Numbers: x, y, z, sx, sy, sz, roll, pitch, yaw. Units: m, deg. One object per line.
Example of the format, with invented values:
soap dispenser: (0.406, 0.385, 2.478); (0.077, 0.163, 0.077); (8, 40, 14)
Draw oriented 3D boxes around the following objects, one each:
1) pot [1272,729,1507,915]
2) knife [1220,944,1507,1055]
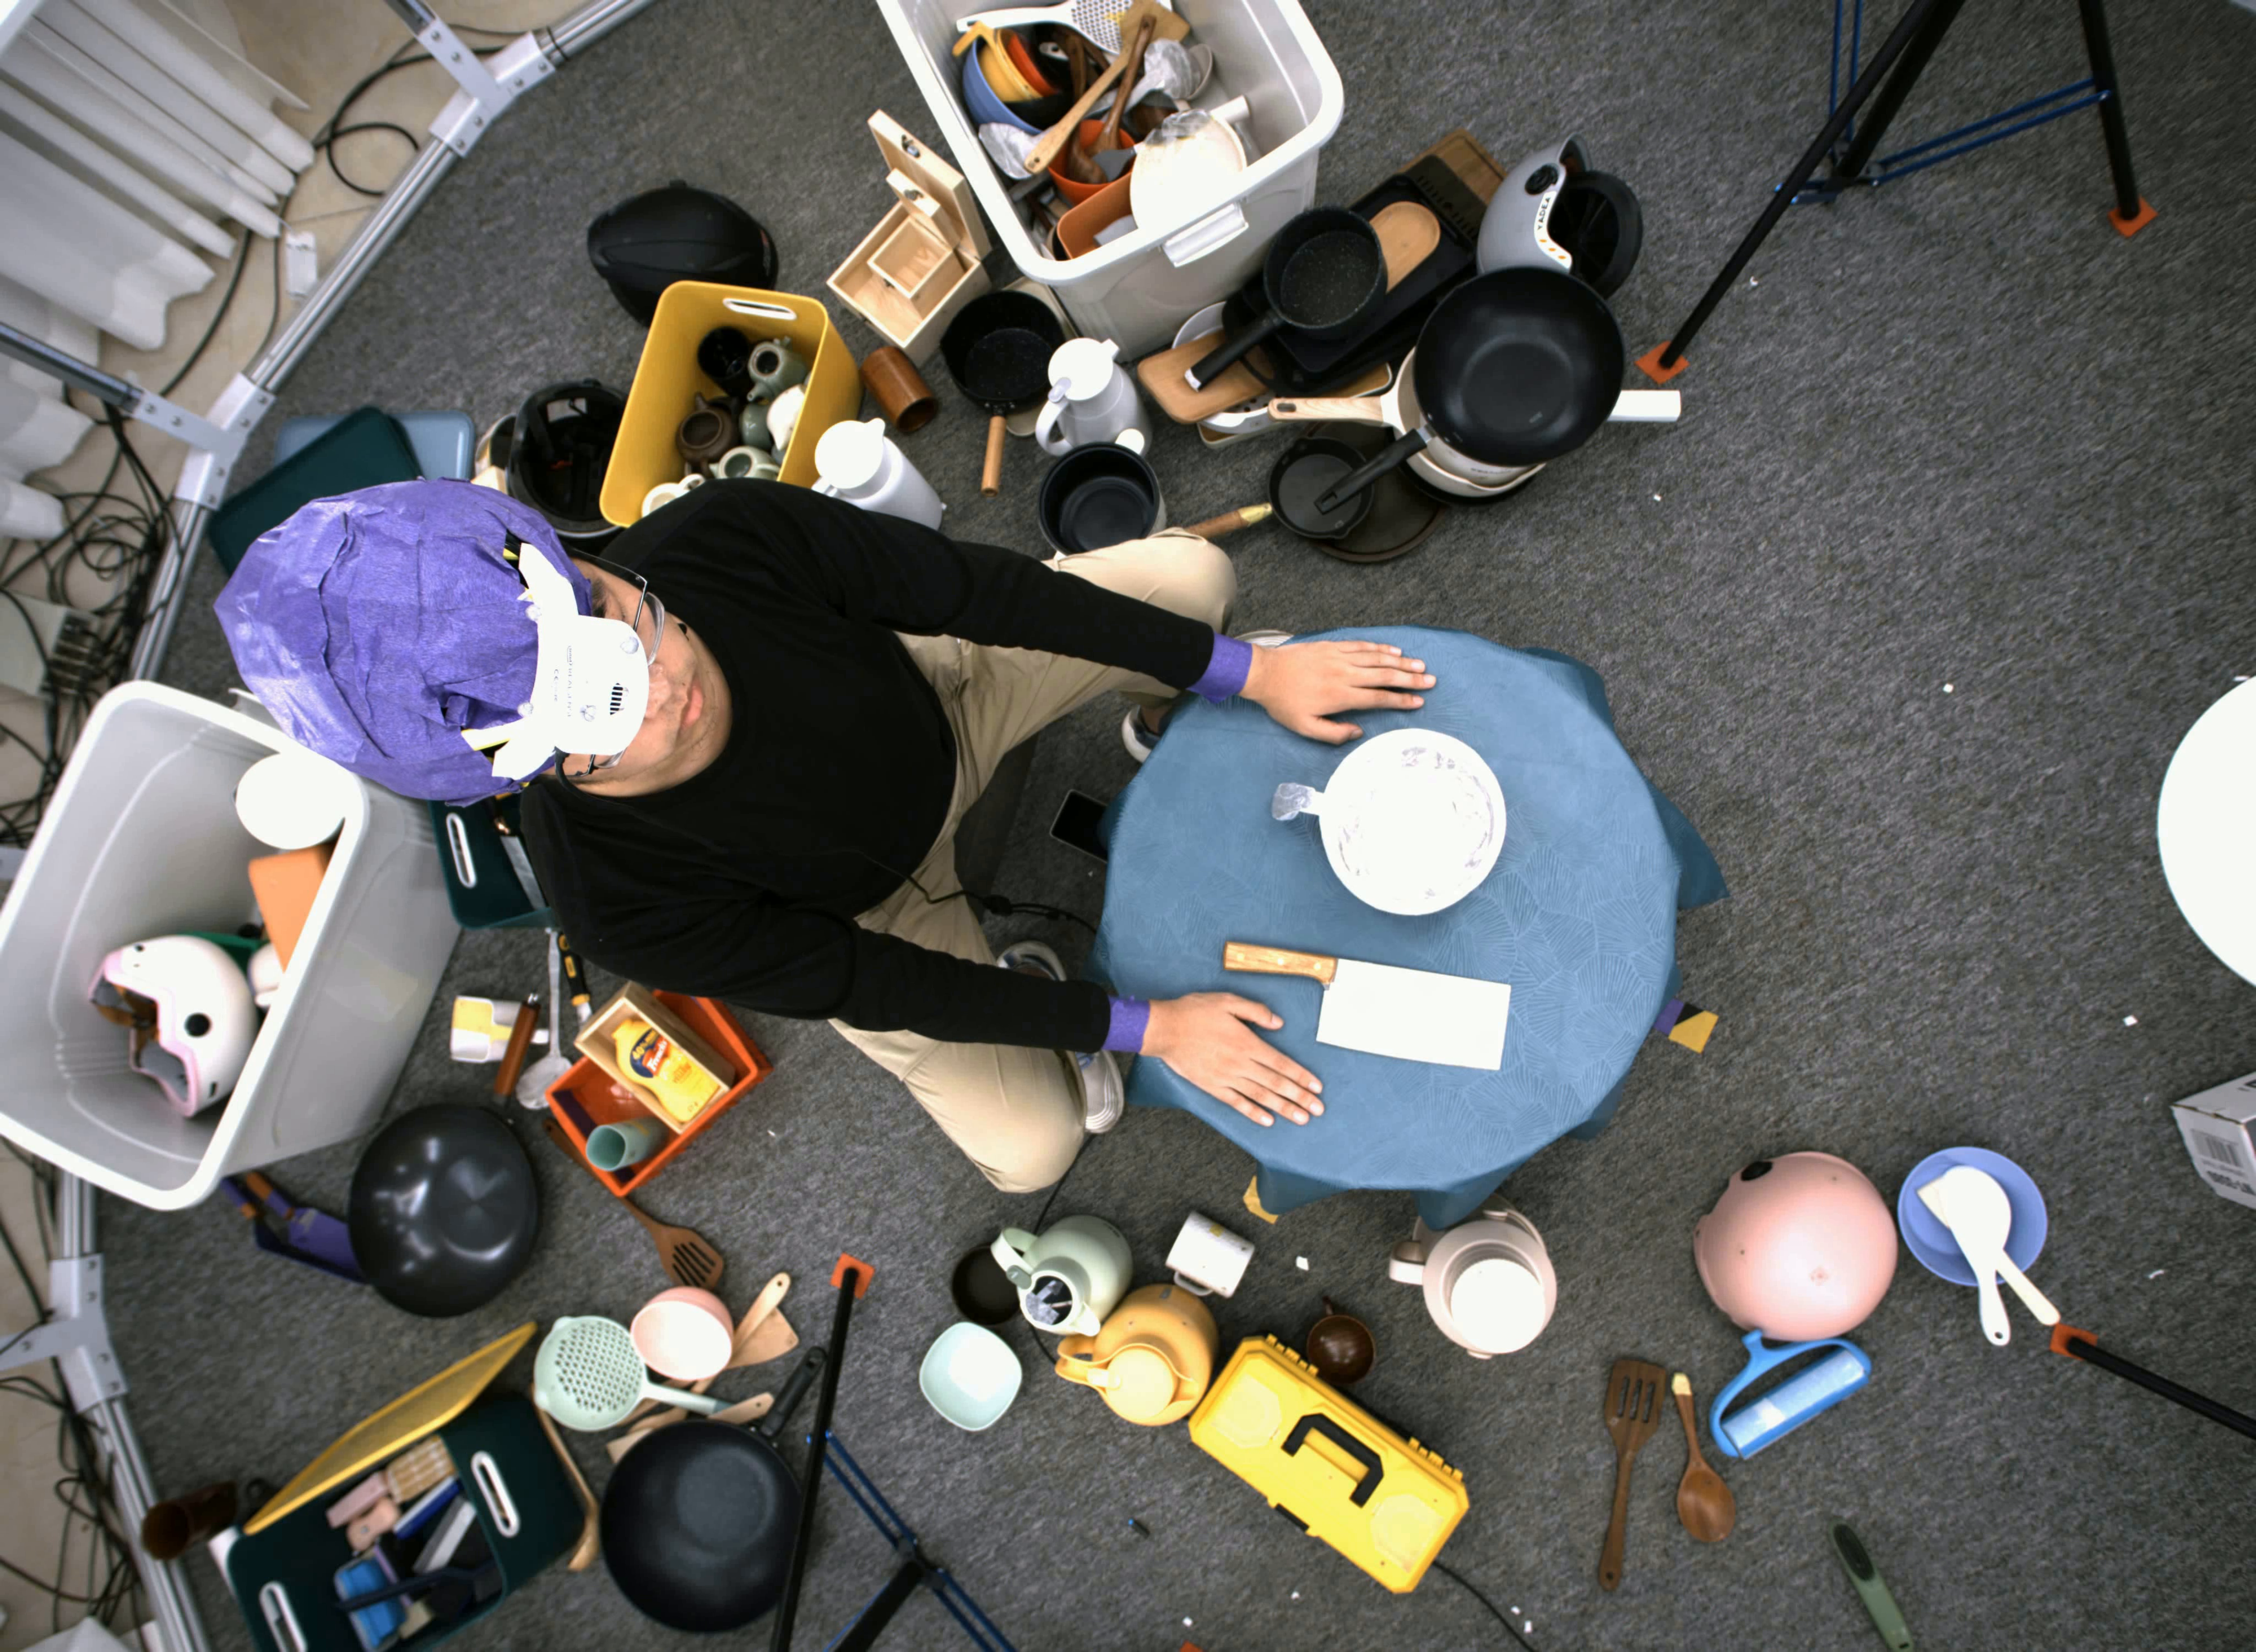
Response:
pot: (0.259, -0.006, 1.396); (0.234, 0.137, 0.178); (11, 88, 10)
knife: (0.243, 0.183, 1.455); (0.306, 0.021, 0.092); (8, 88, 10)
